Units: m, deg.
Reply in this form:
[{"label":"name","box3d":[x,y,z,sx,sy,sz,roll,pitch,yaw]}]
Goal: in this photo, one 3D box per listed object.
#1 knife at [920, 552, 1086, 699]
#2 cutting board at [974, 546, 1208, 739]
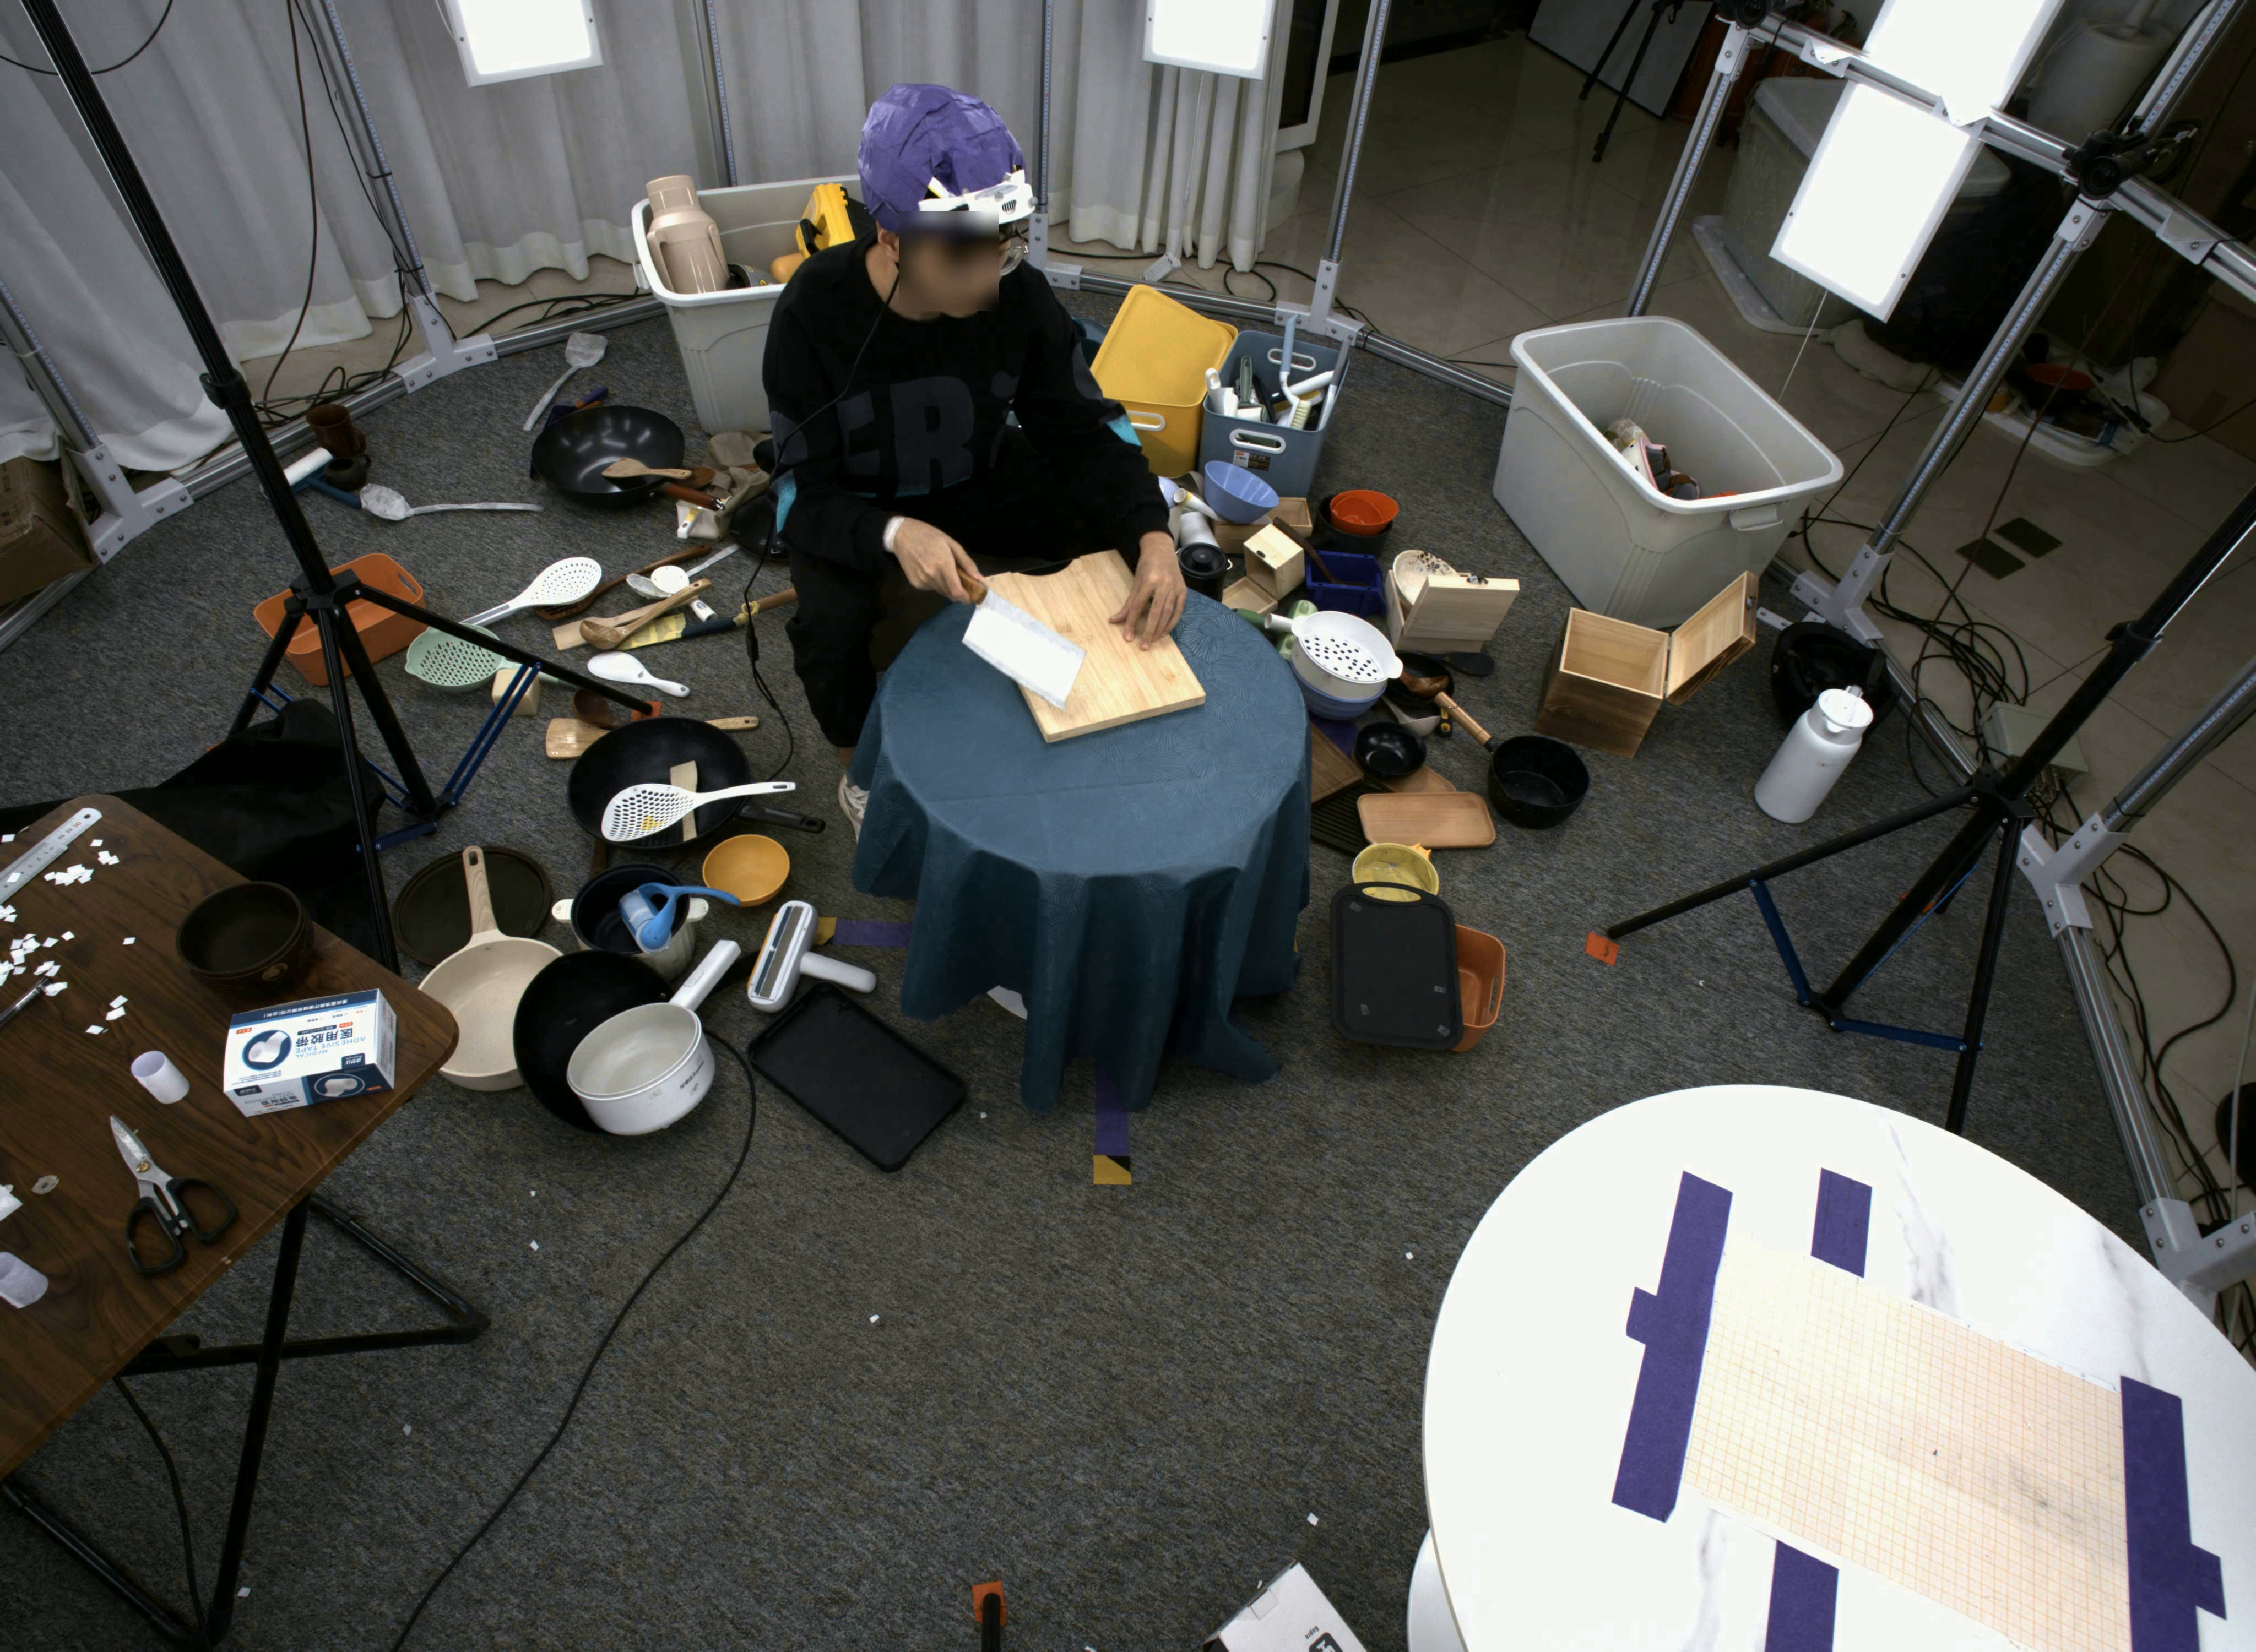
[{"label":"knife","box3d":[-0.183,-0.273,1.772,0.310,0.091,0.021,36,24,24]},{"label":"cutting board","box3d":[-0.061,-0.277,1.894,0.251,0.023,0.357,-16,52,-17]}]
